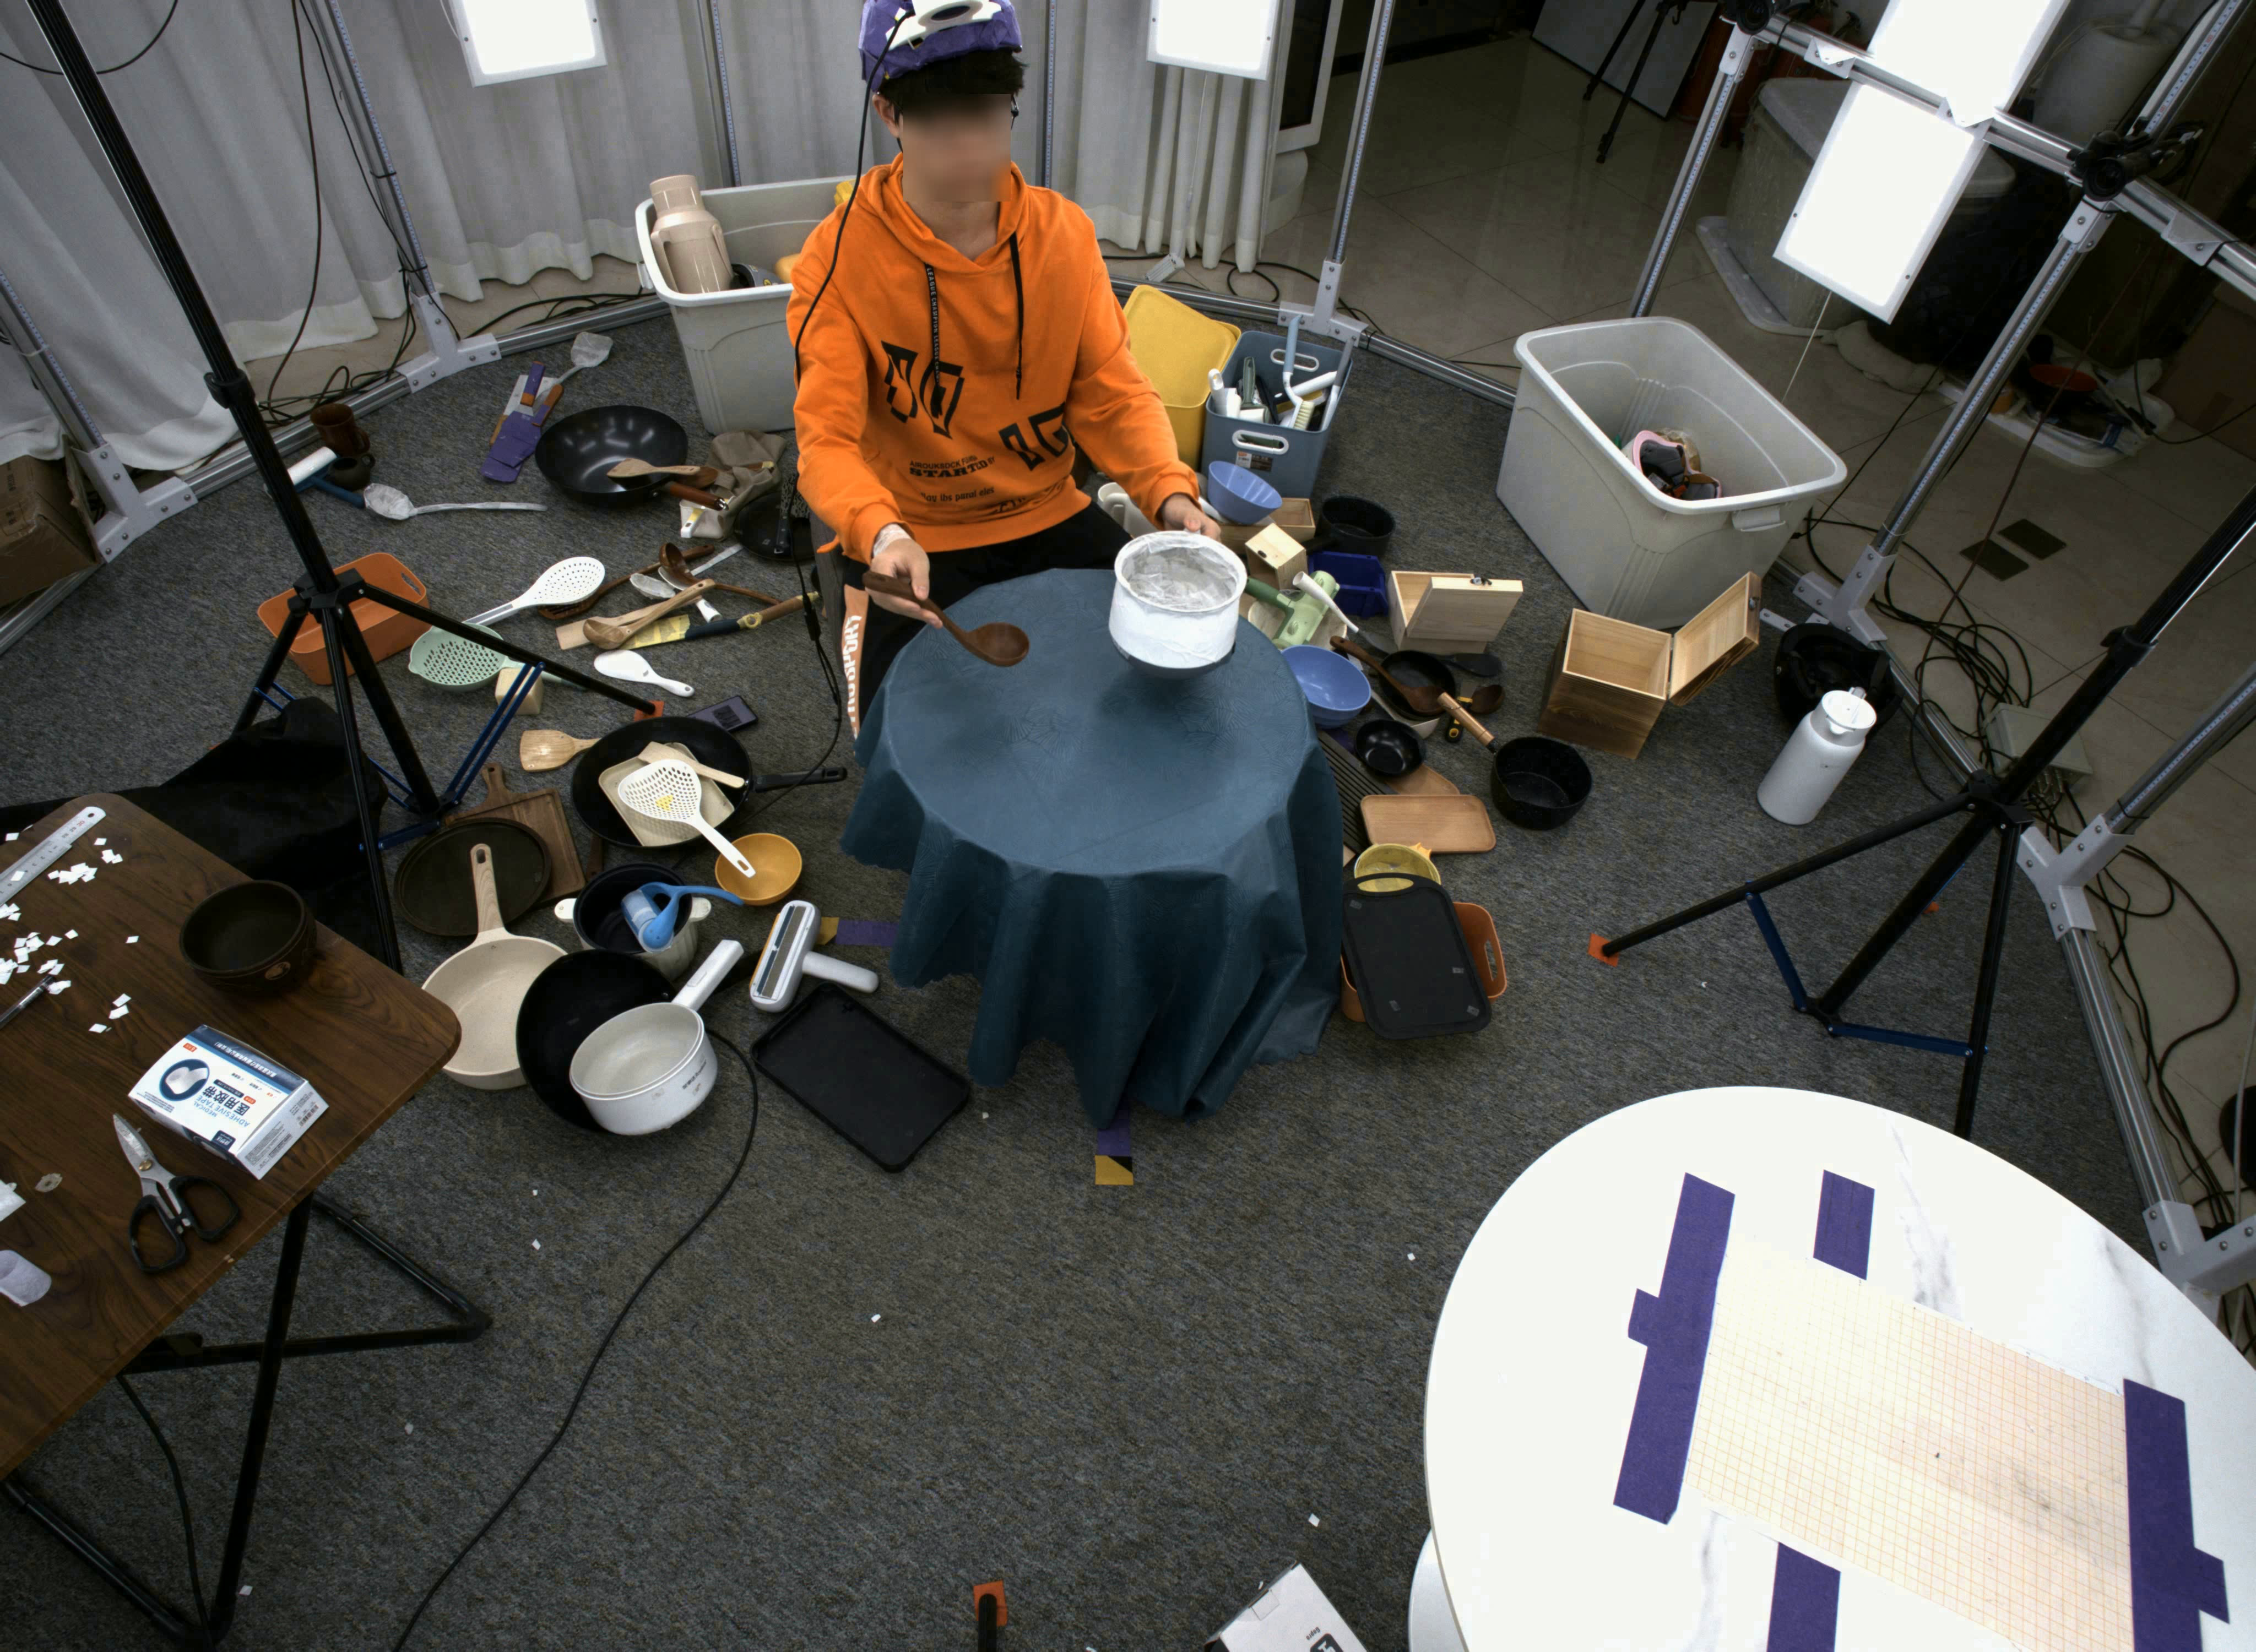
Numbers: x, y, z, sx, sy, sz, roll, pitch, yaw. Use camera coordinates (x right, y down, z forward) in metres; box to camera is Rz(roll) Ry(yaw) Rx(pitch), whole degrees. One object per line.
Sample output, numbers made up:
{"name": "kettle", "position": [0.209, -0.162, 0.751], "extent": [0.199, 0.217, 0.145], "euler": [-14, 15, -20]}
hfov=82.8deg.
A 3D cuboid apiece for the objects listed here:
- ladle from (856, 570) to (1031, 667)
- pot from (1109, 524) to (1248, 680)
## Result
{"name": "ladle", "position": [-0.229, -0.275, 1.650], "extent": [0.064, 0.256, 0.078], "euler": [-40, 48, 20]}
{"name": "pot", "position": [0.069, -0.316, 1.763], "extent": [0.179, 0.133, 0.239], "euler": [11, 46, 2]}
